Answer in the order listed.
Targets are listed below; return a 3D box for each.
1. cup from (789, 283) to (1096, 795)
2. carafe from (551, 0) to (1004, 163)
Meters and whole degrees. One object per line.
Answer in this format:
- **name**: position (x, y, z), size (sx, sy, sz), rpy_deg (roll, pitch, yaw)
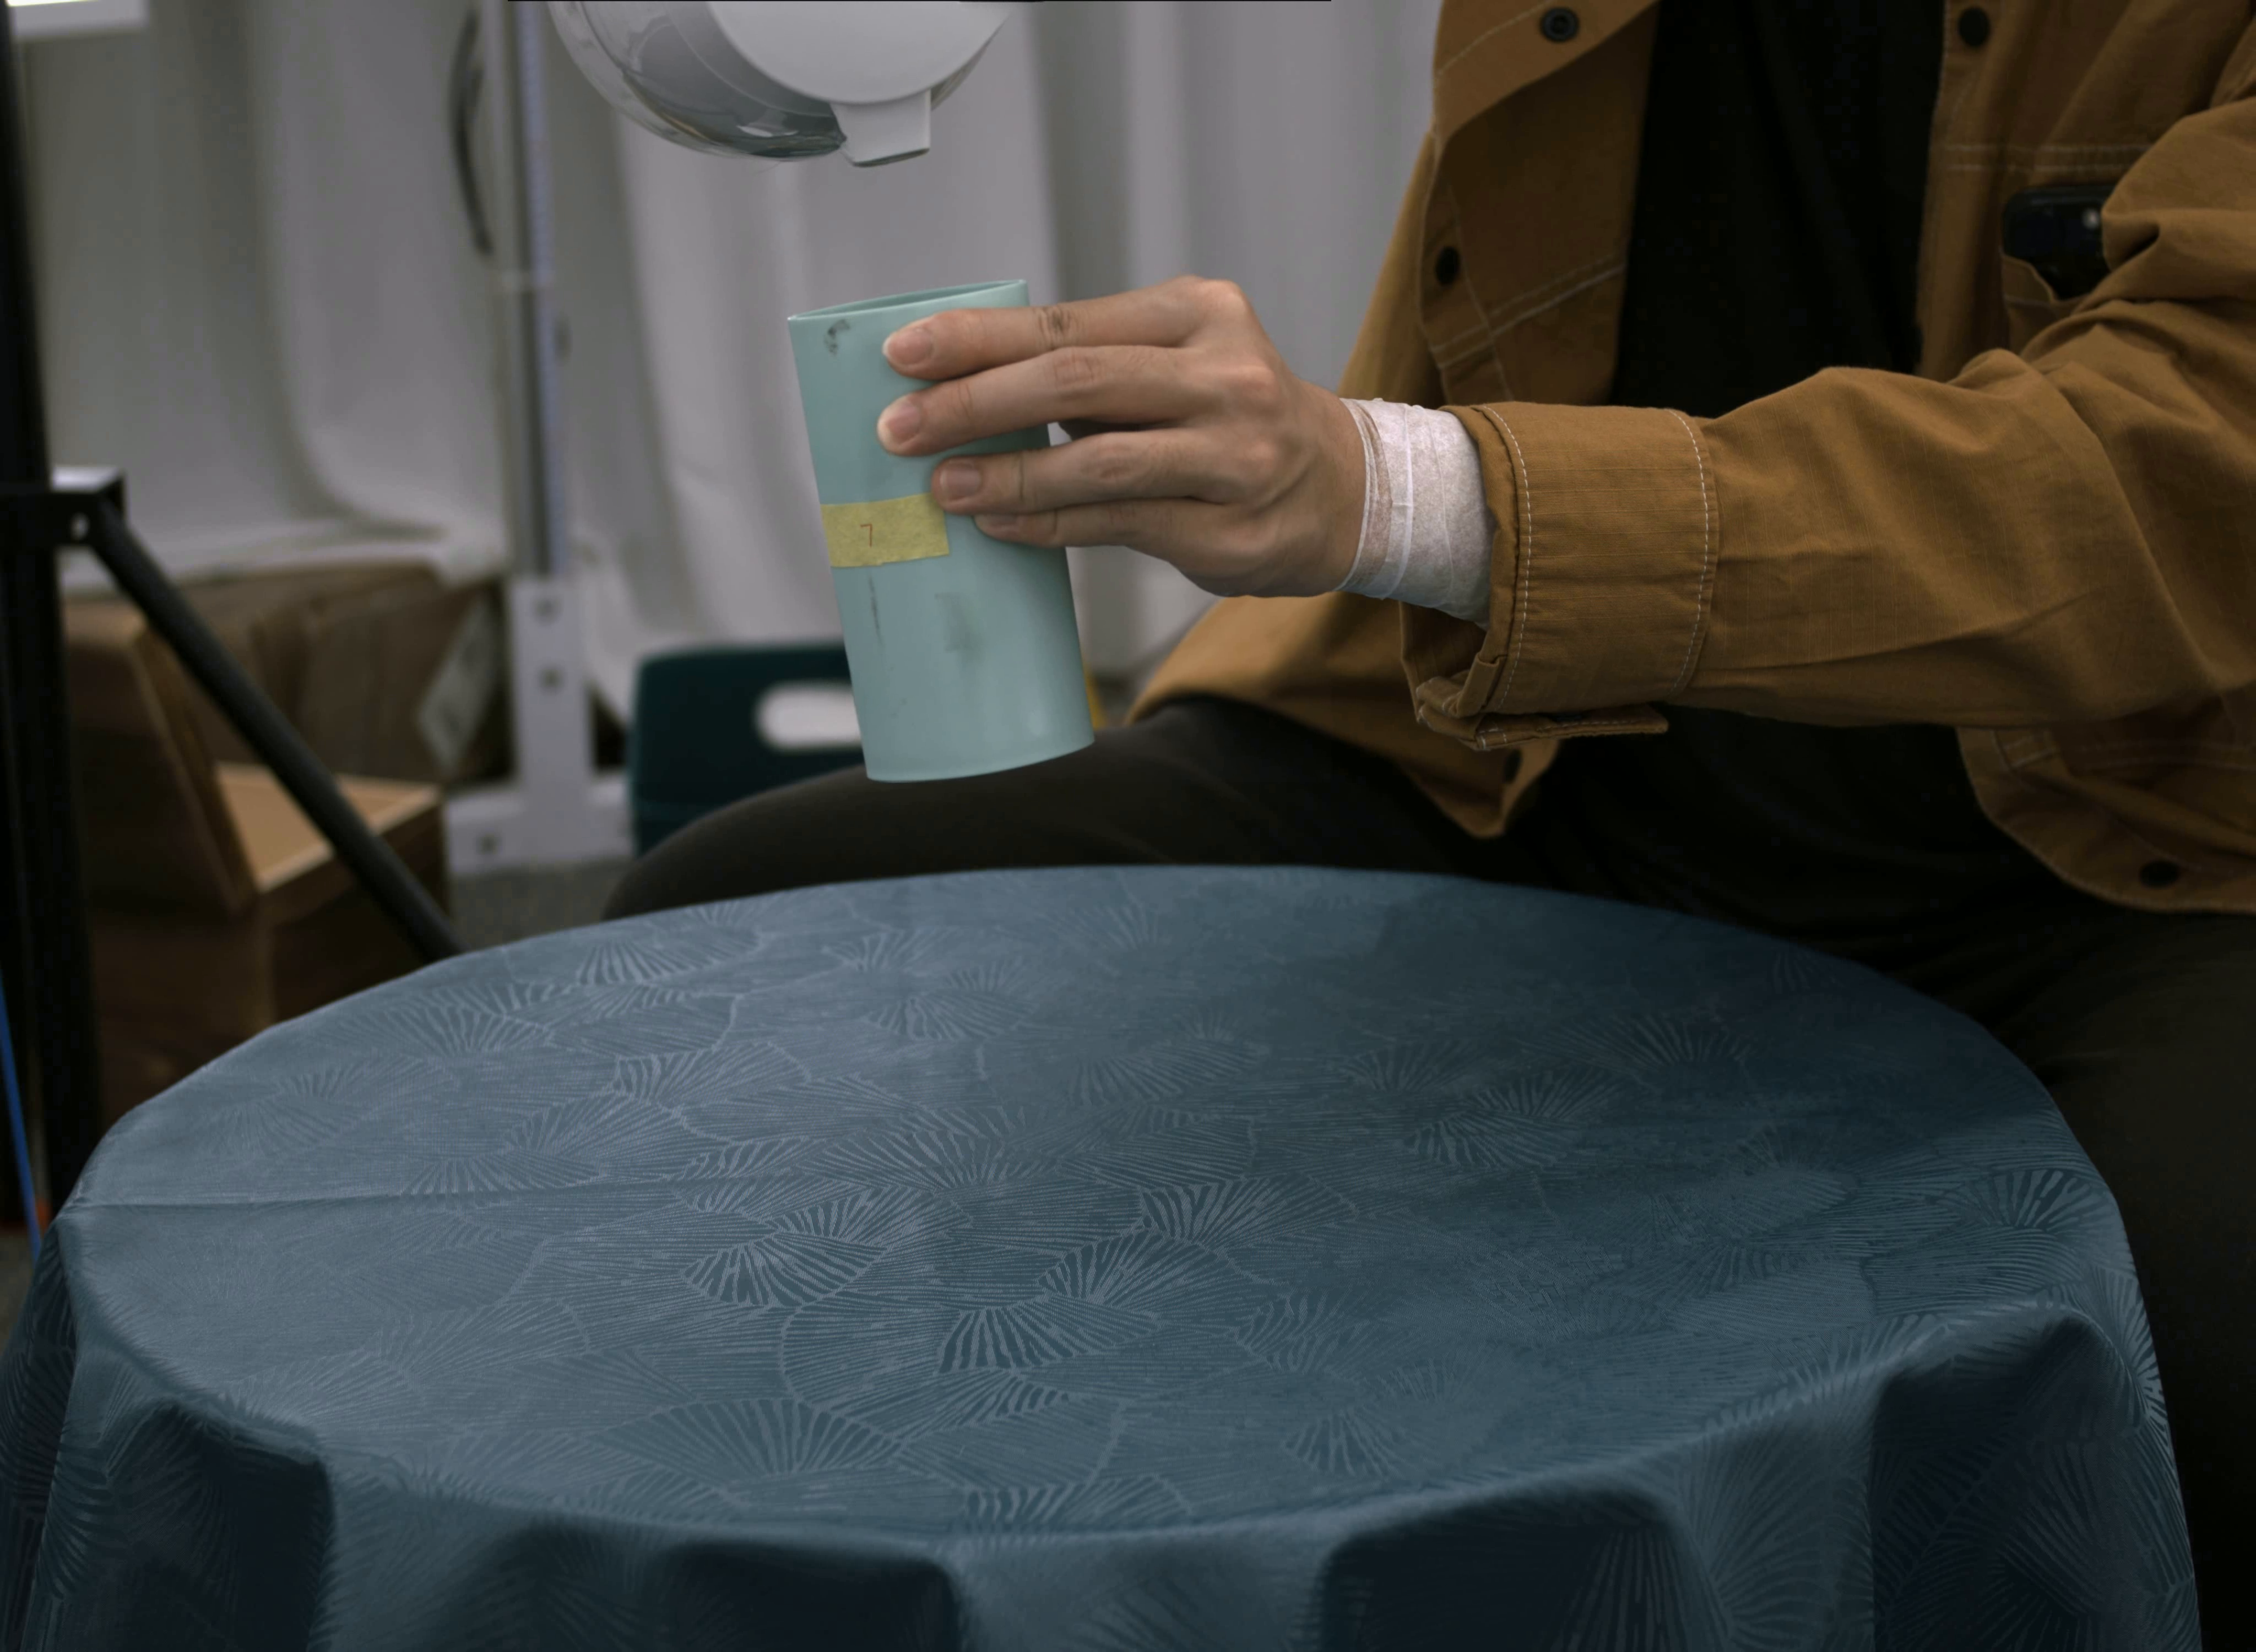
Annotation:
- **cup**: position (-0.049, -0.080, 1.473), size (0.066, 0.132, 0.067), rpy_deg (-9, 8, 0)
- **carafe**: position (-0.100, -0.277, 1.550), size (0.131, 0.168, 0.251), rpy_deg (-15, 10, -7)
